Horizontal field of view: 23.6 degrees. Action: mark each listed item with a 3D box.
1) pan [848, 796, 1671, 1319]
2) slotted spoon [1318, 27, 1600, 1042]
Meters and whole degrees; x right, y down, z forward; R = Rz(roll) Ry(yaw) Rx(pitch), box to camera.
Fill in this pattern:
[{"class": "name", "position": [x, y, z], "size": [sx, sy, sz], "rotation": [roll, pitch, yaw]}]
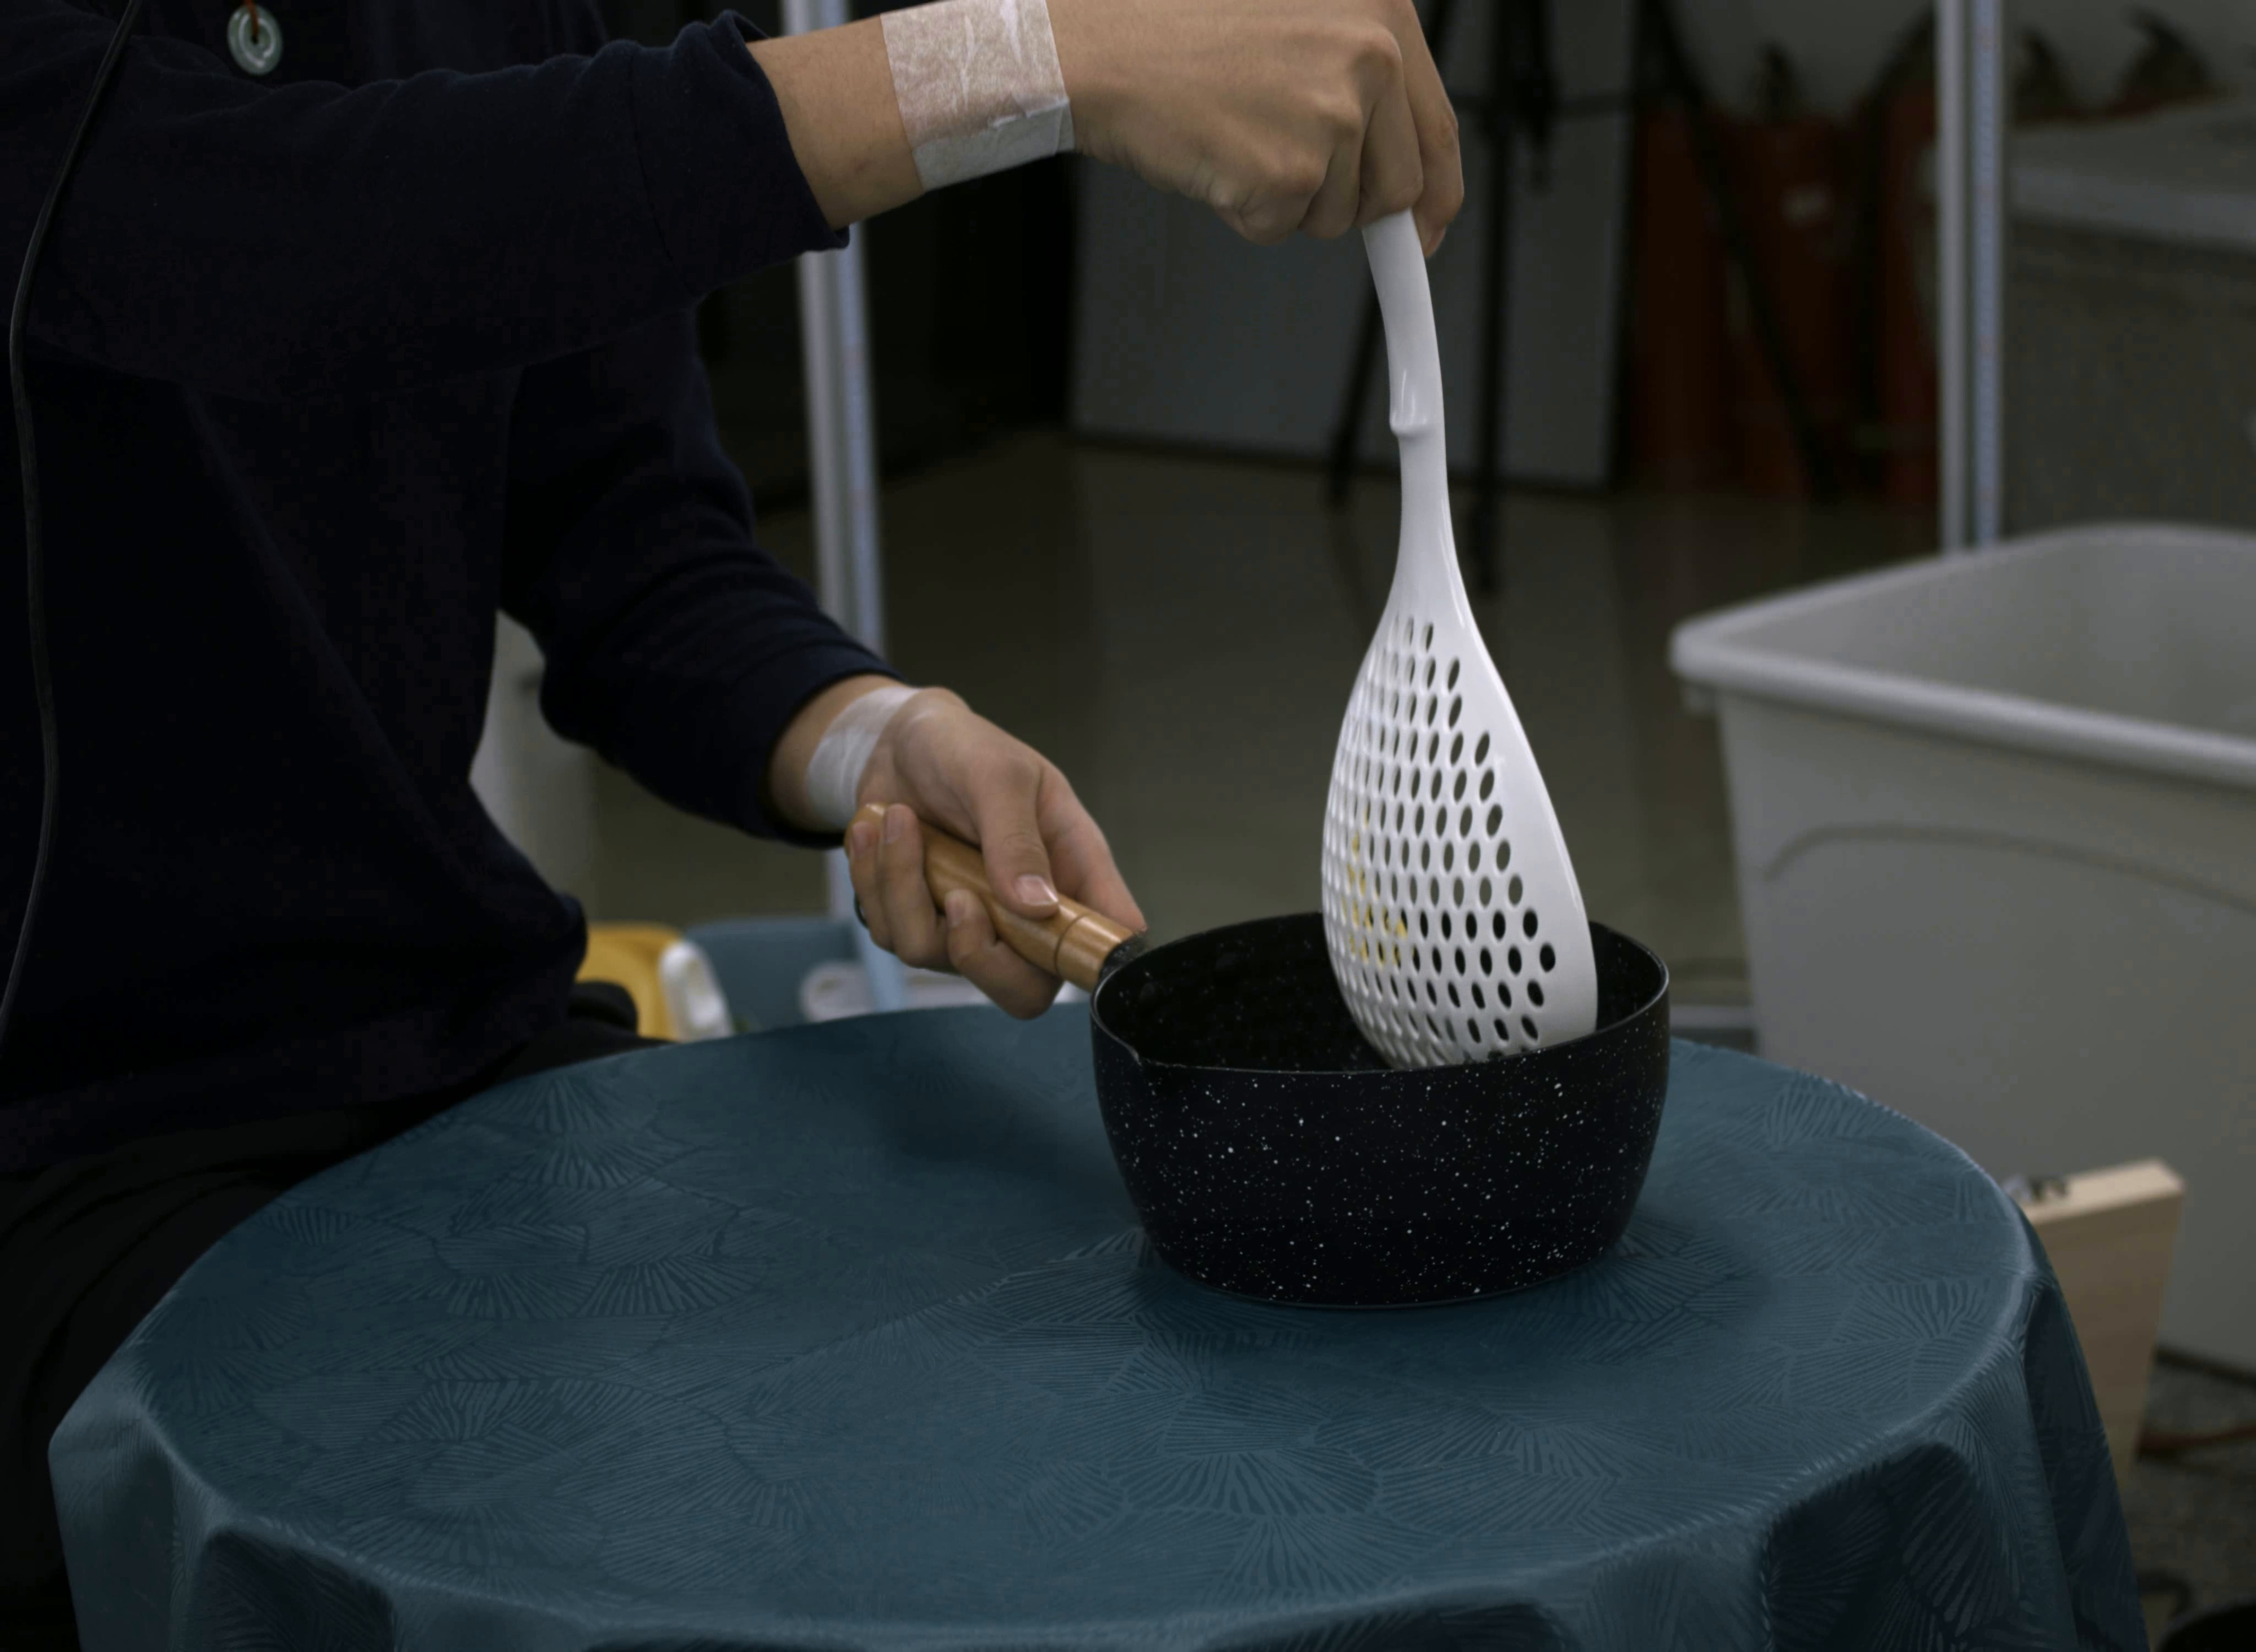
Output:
[{"class": "pan", "position": [0.026, 0.068, 1.753], "size": [0.203, 0.109, 0.346], "rotation": [-18, 20, -41]}, {"class": "slotted spoon", "position": [0.088, -0.073, 1.687], "size": [0.049, 0.352, 0.138], "rotation": [-9, 14, -31]}]
